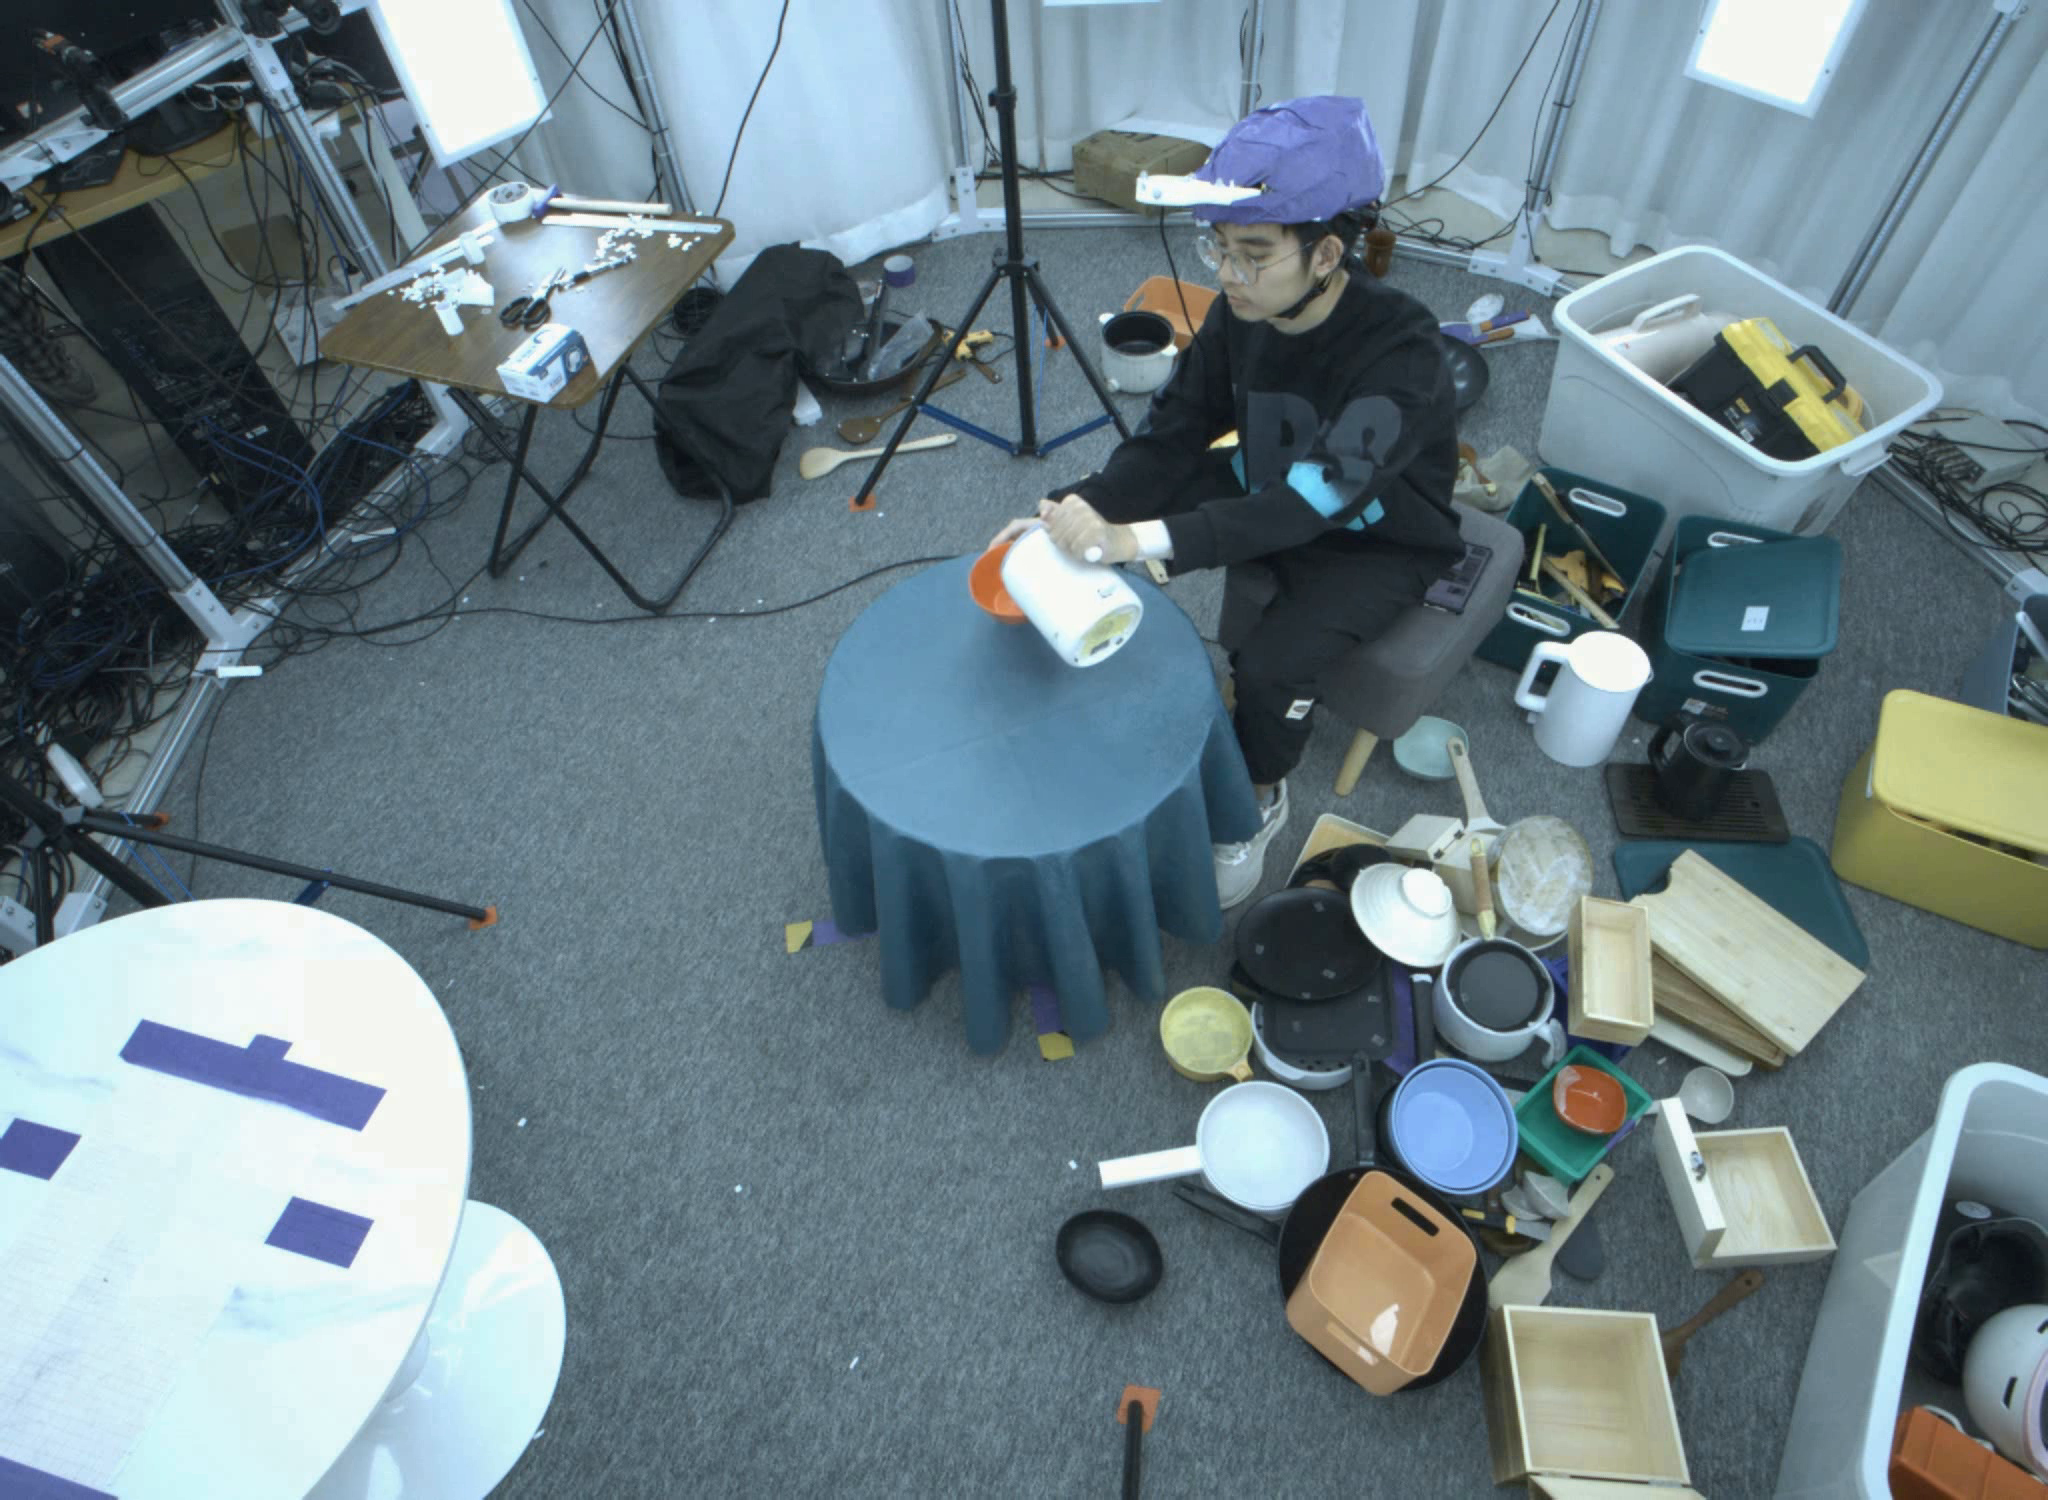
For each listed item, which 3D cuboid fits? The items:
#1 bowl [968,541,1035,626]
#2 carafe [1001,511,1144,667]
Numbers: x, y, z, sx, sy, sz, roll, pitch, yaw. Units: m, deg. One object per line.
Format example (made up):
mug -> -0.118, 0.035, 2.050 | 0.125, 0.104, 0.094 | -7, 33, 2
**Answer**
bowl -> -0.010, -0.236, 1.847 | 0.148, 0.105, 0.147 | 1, 65, -1
carafe -> 0.067, -0.228, 1.657 | 0.133, 0.191, 0.180 | -29, 69, -25
